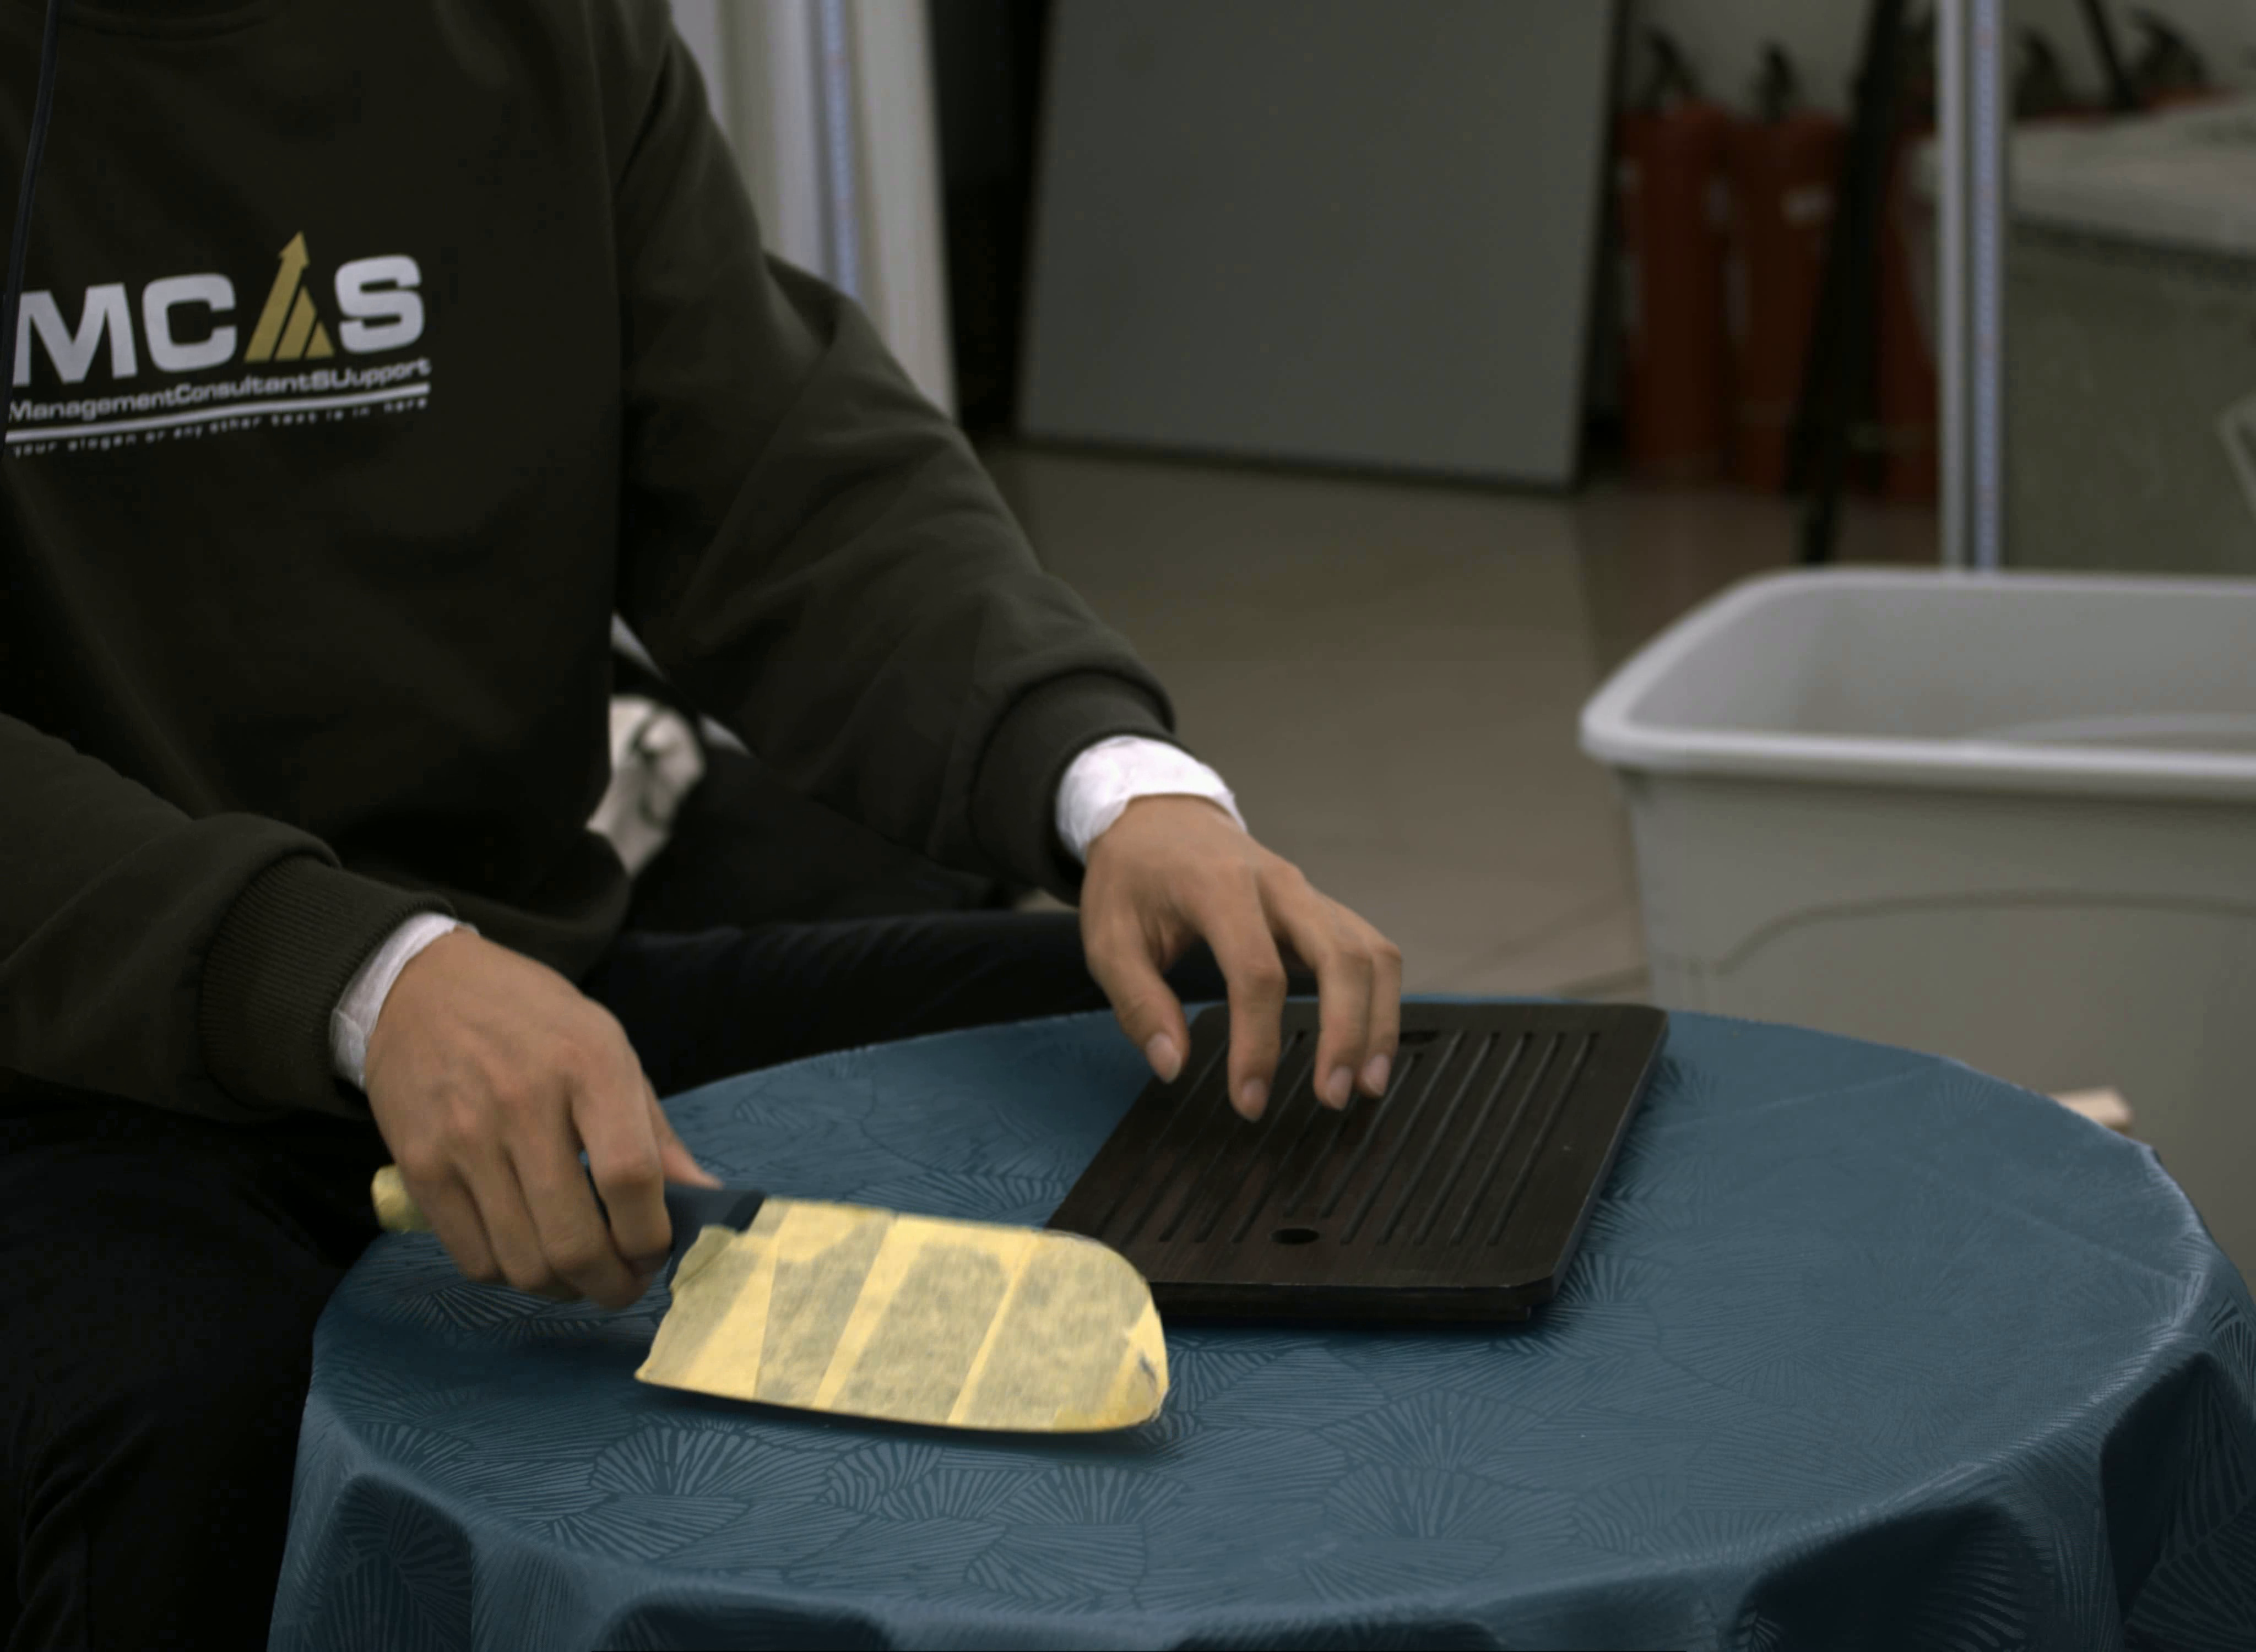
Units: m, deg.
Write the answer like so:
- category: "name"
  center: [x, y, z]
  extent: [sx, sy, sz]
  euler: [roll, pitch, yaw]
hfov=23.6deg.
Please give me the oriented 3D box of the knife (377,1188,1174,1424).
- category: "knife"
  center: [-0.111, 0.143, 1.611]
  extent: [0.291, 0.027, 0.081]
  euler: [5, 46, 31]

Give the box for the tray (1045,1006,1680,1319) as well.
- category: "tray"
  center: [0.081, 0.108, 1.766]
  extent: [0.169, 0.019, 0.304]
  euler: [-1, 13, 14]
